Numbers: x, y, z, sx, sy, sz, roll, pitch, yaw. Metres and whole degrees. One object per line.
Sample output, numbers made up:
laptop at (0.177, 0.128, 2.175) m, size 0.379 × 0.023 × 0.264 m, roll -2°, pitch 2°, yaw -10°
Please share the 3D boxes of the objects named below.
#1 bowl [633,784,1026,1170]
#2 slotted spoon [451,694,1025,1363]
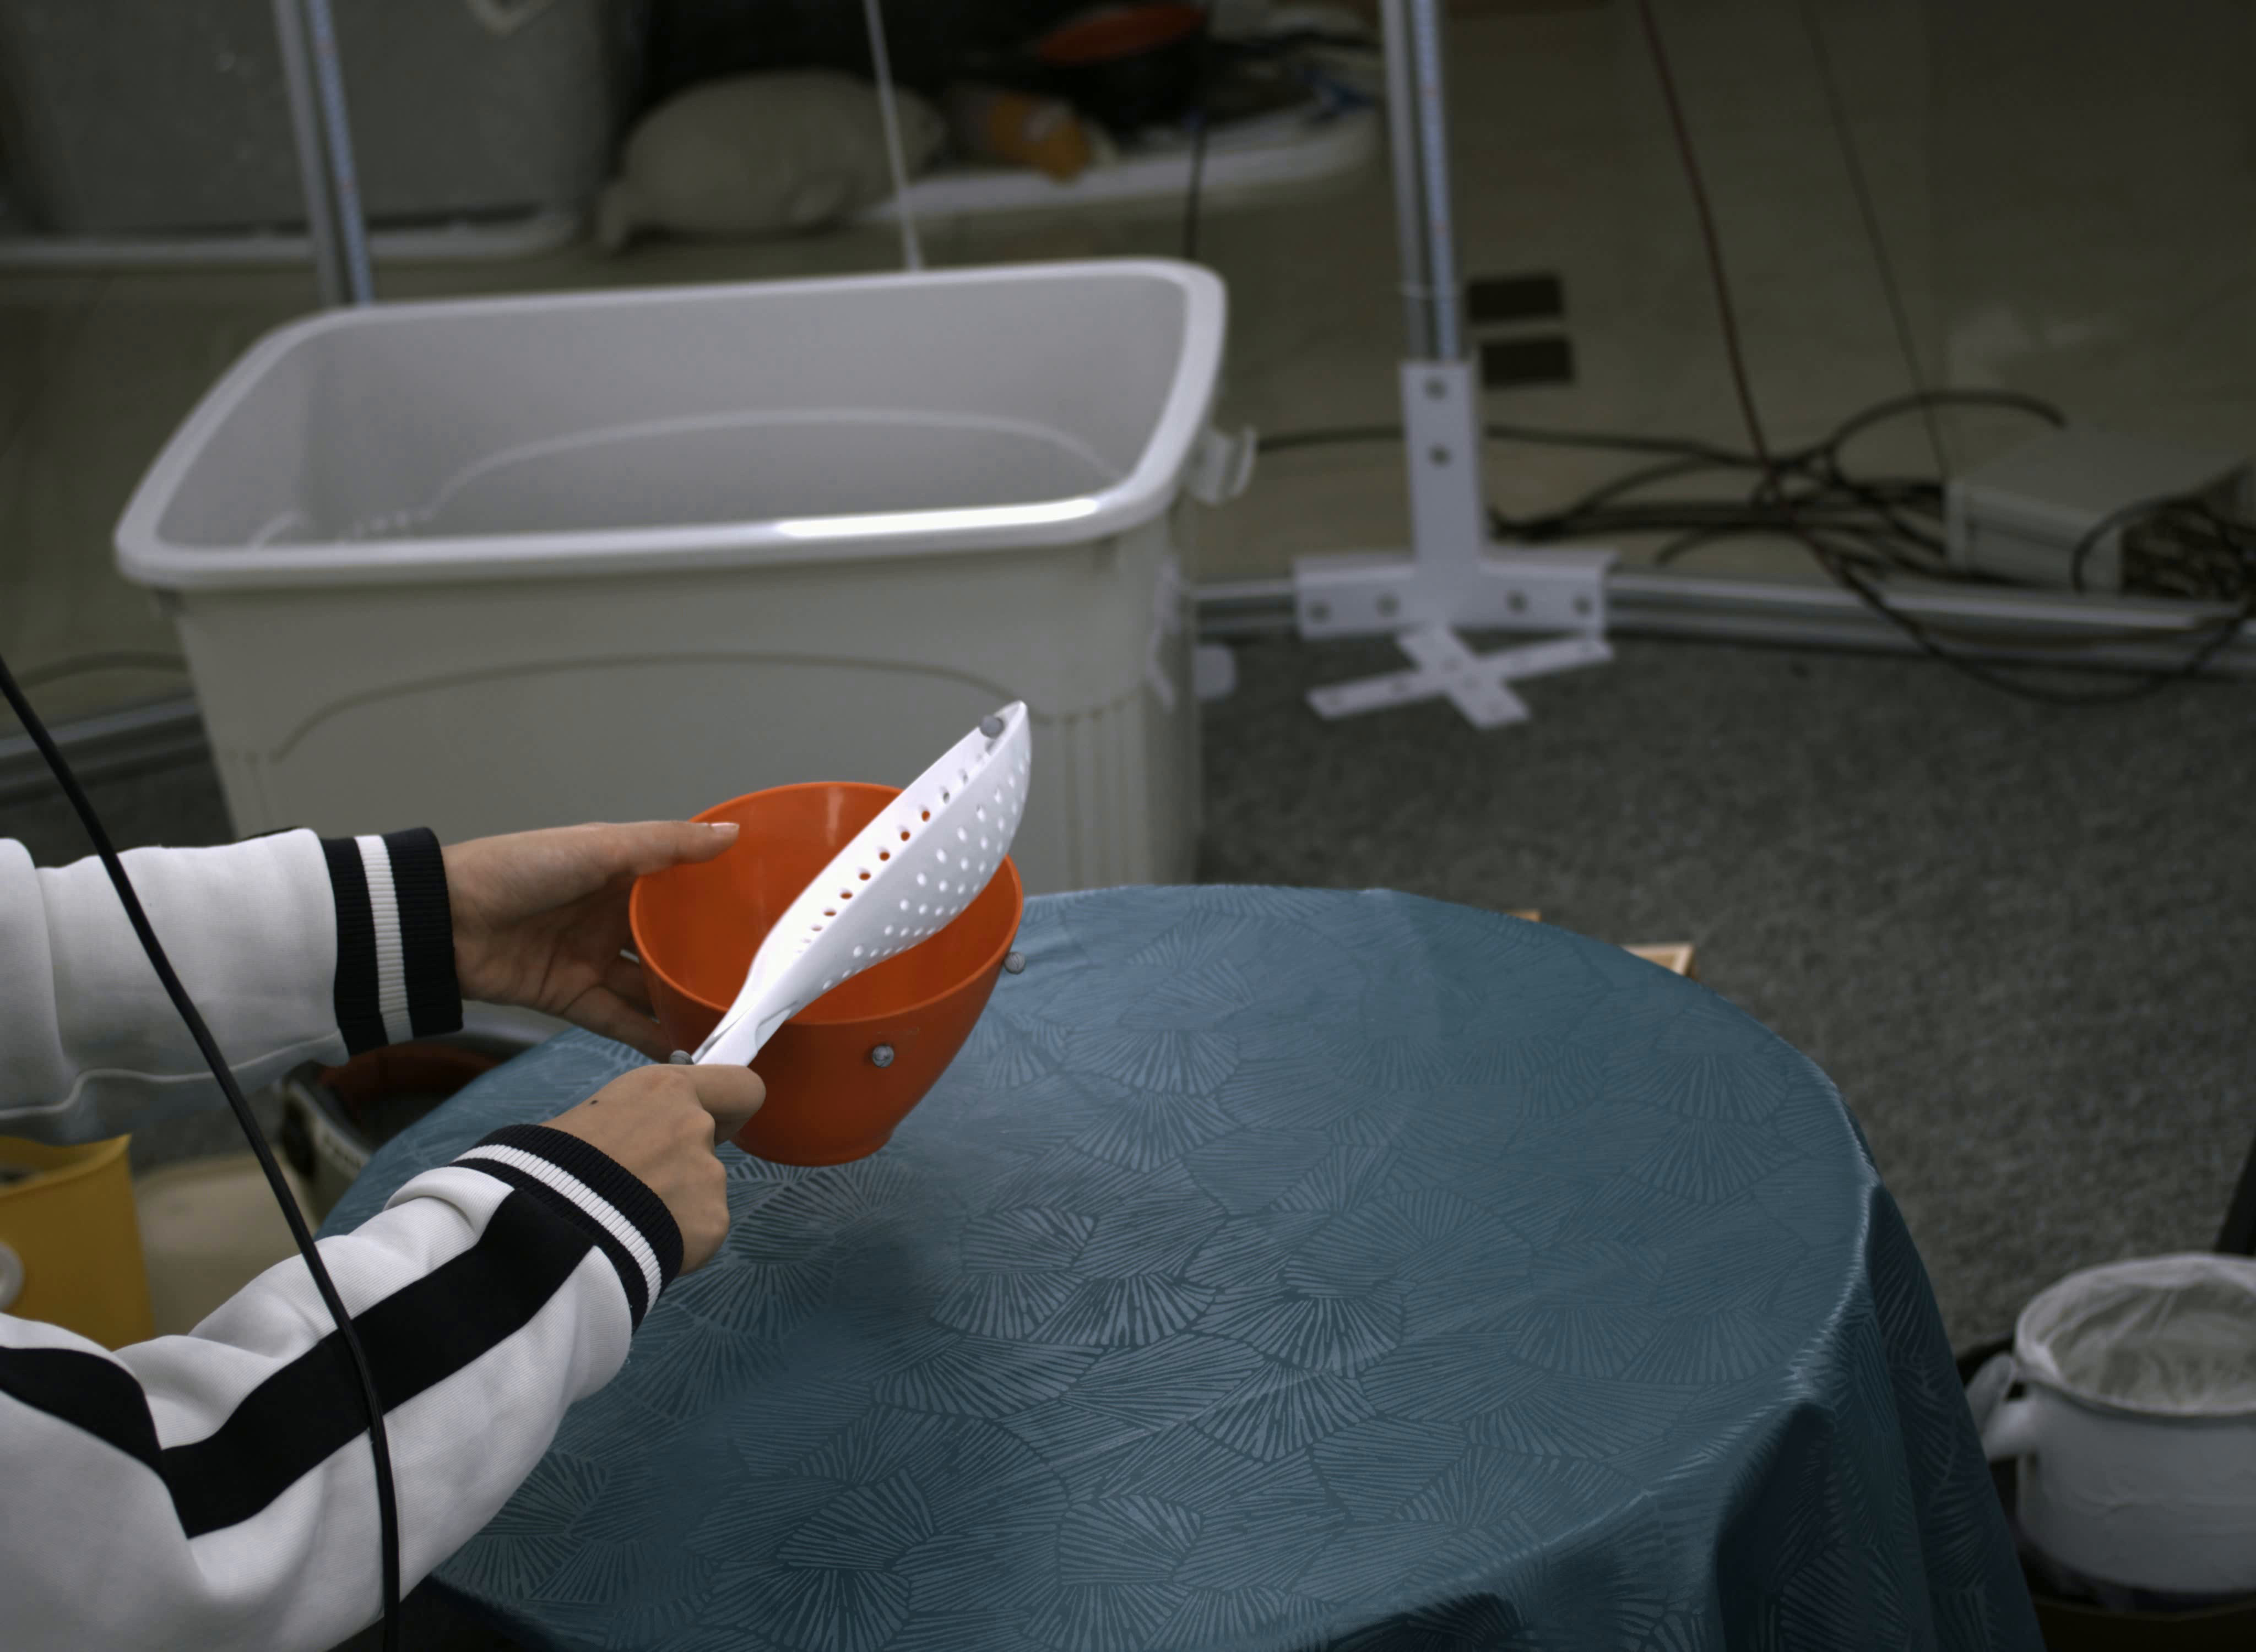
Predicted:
bowl at (-0.115, 0.064, 2.144) m, size 0.148 × 0.106 × 0.145 m, roll 4°, pitch 30°, yaw -2°
slotted spoon at (-0.135, 0.070, 2.012) m, size 0.345 × 0.046 × 0.137 m, roll -45°, pitch 3°, yaw -40°
